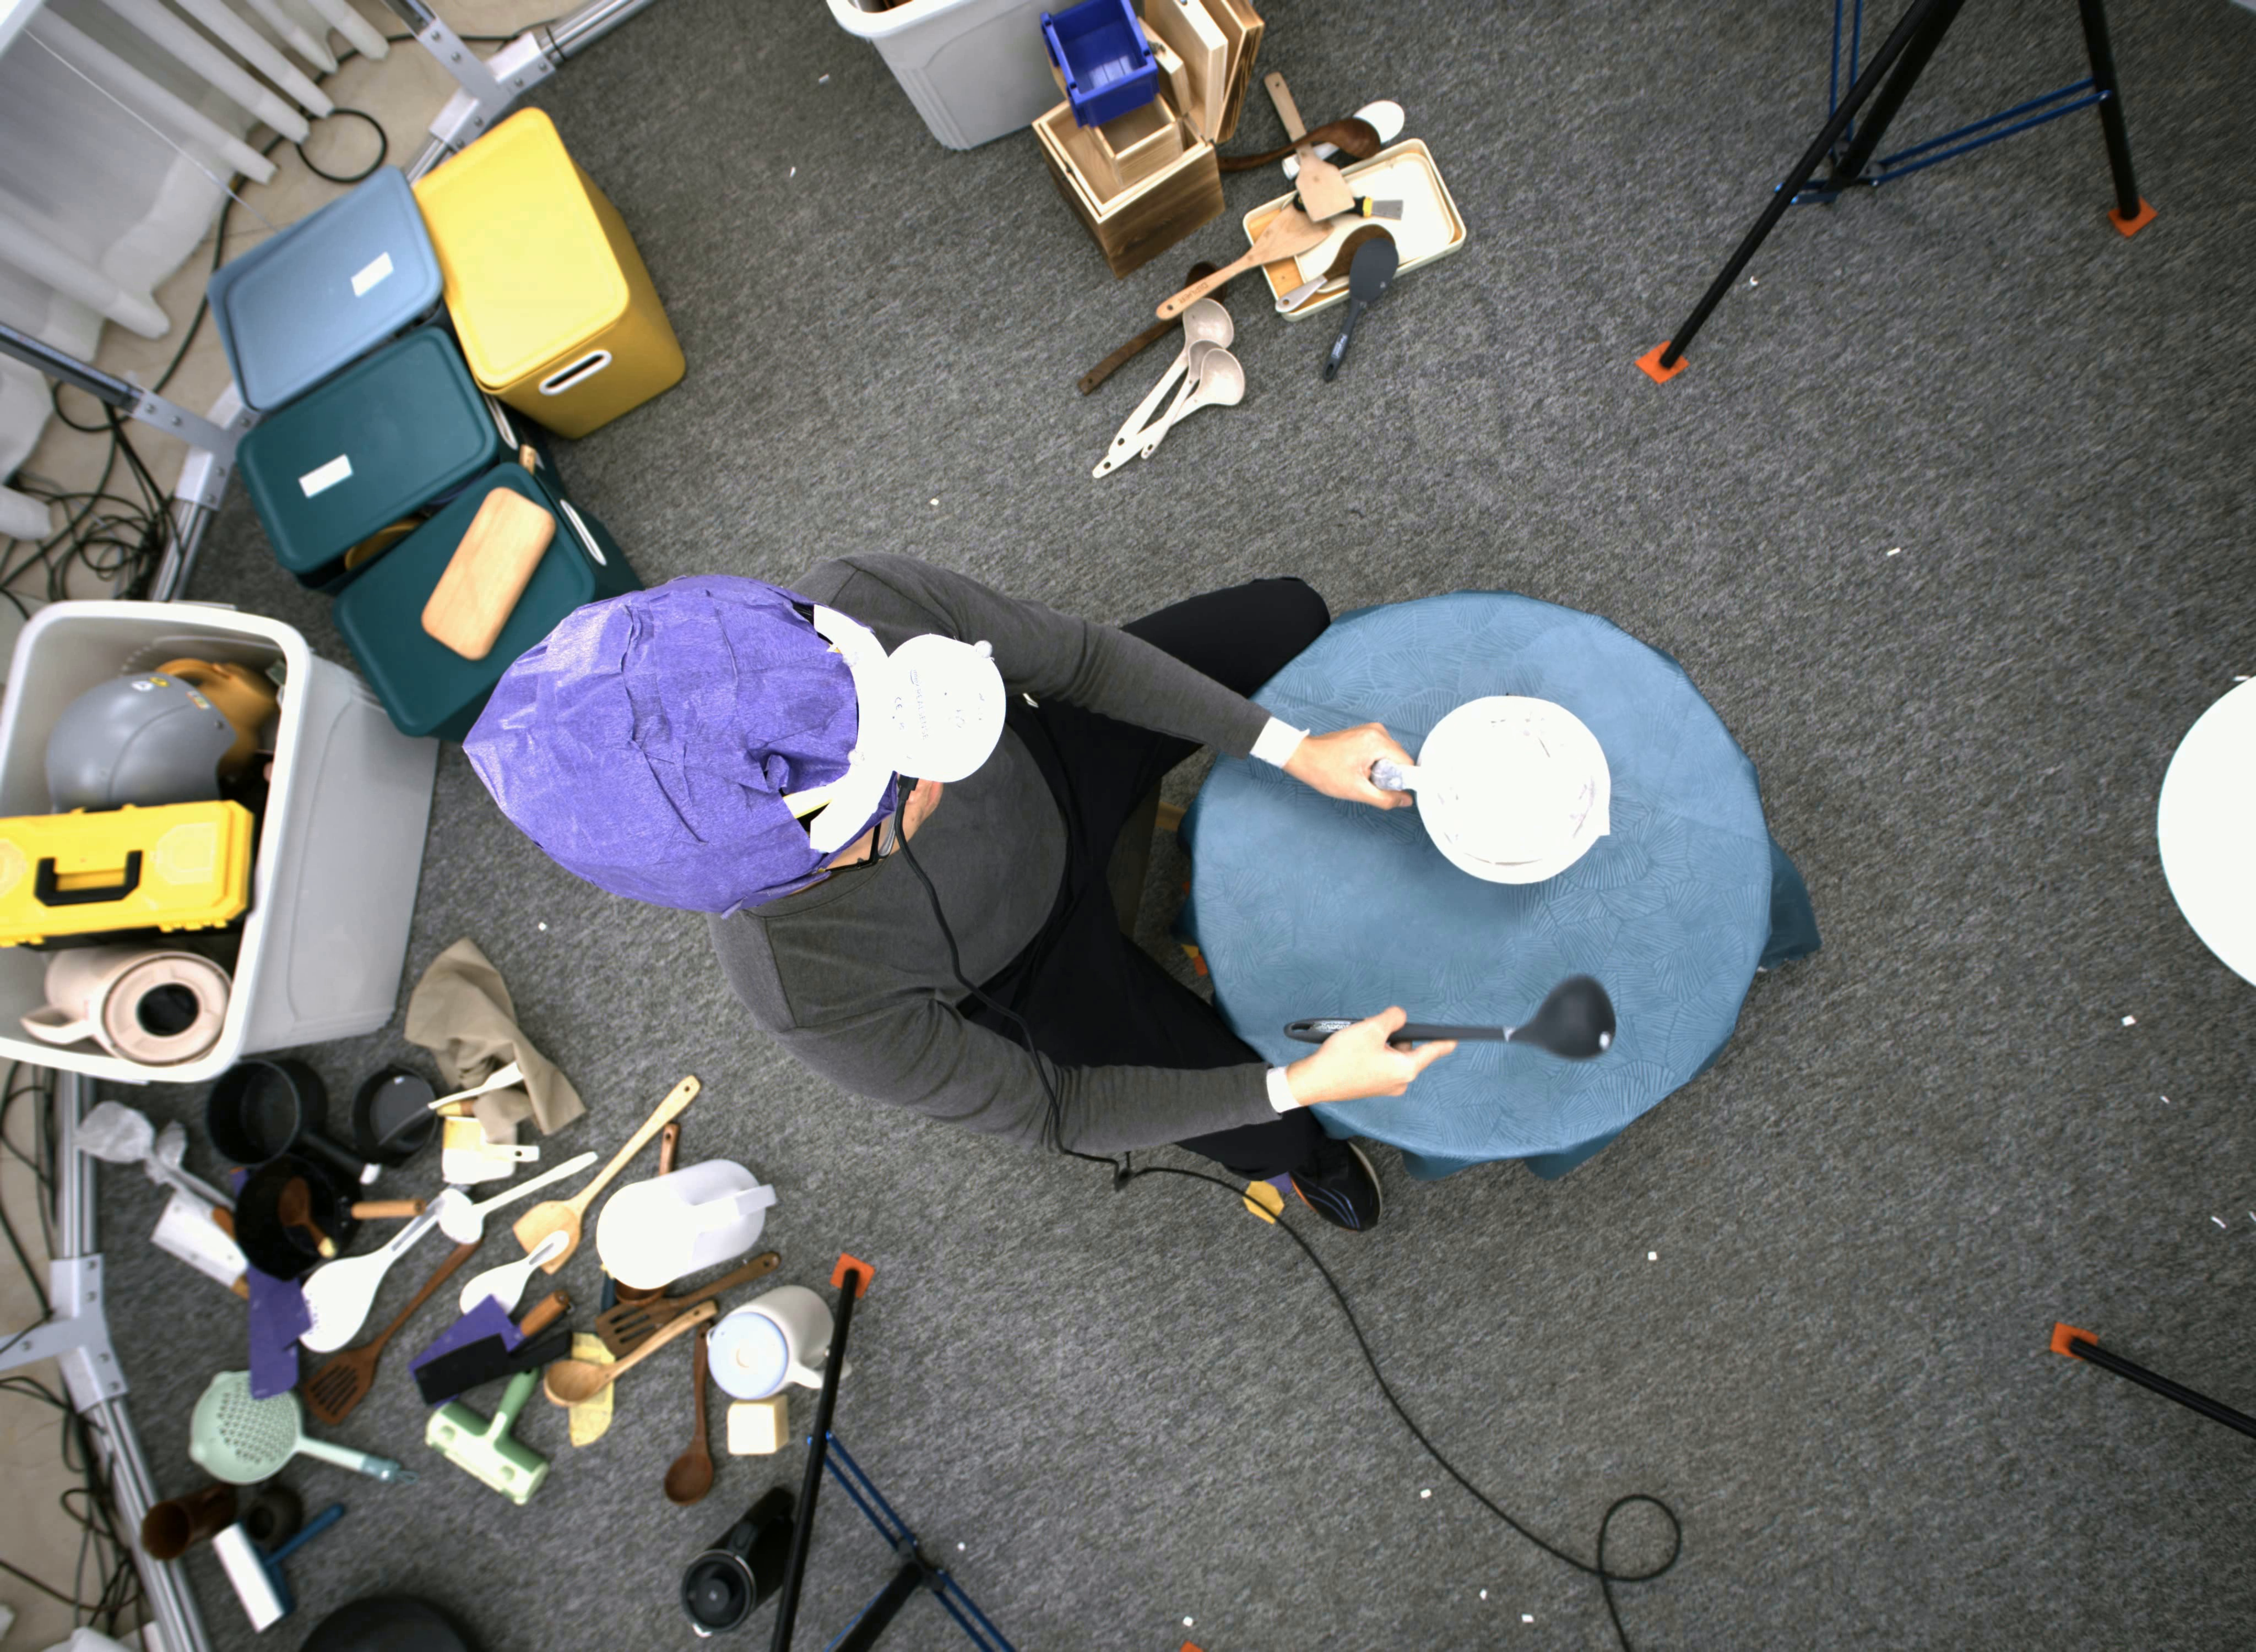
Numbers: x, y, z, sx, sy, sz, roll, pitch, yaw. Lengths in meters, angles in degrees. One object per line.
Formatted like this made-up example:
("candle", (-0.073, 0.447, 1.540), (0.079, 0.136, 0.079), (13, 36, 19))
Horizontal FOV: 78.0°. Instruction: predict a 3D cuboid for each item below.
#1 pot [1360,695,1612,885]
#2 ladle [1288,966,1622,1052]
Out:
("pot", (0.346, -0.043, 1.352), (0.234, 0.135, 0.180), (5, 98, 9))
("ladle", (0.303, 0.173, 1.274), (0.313, 0.065, 0.084), (0, 49, -11))
